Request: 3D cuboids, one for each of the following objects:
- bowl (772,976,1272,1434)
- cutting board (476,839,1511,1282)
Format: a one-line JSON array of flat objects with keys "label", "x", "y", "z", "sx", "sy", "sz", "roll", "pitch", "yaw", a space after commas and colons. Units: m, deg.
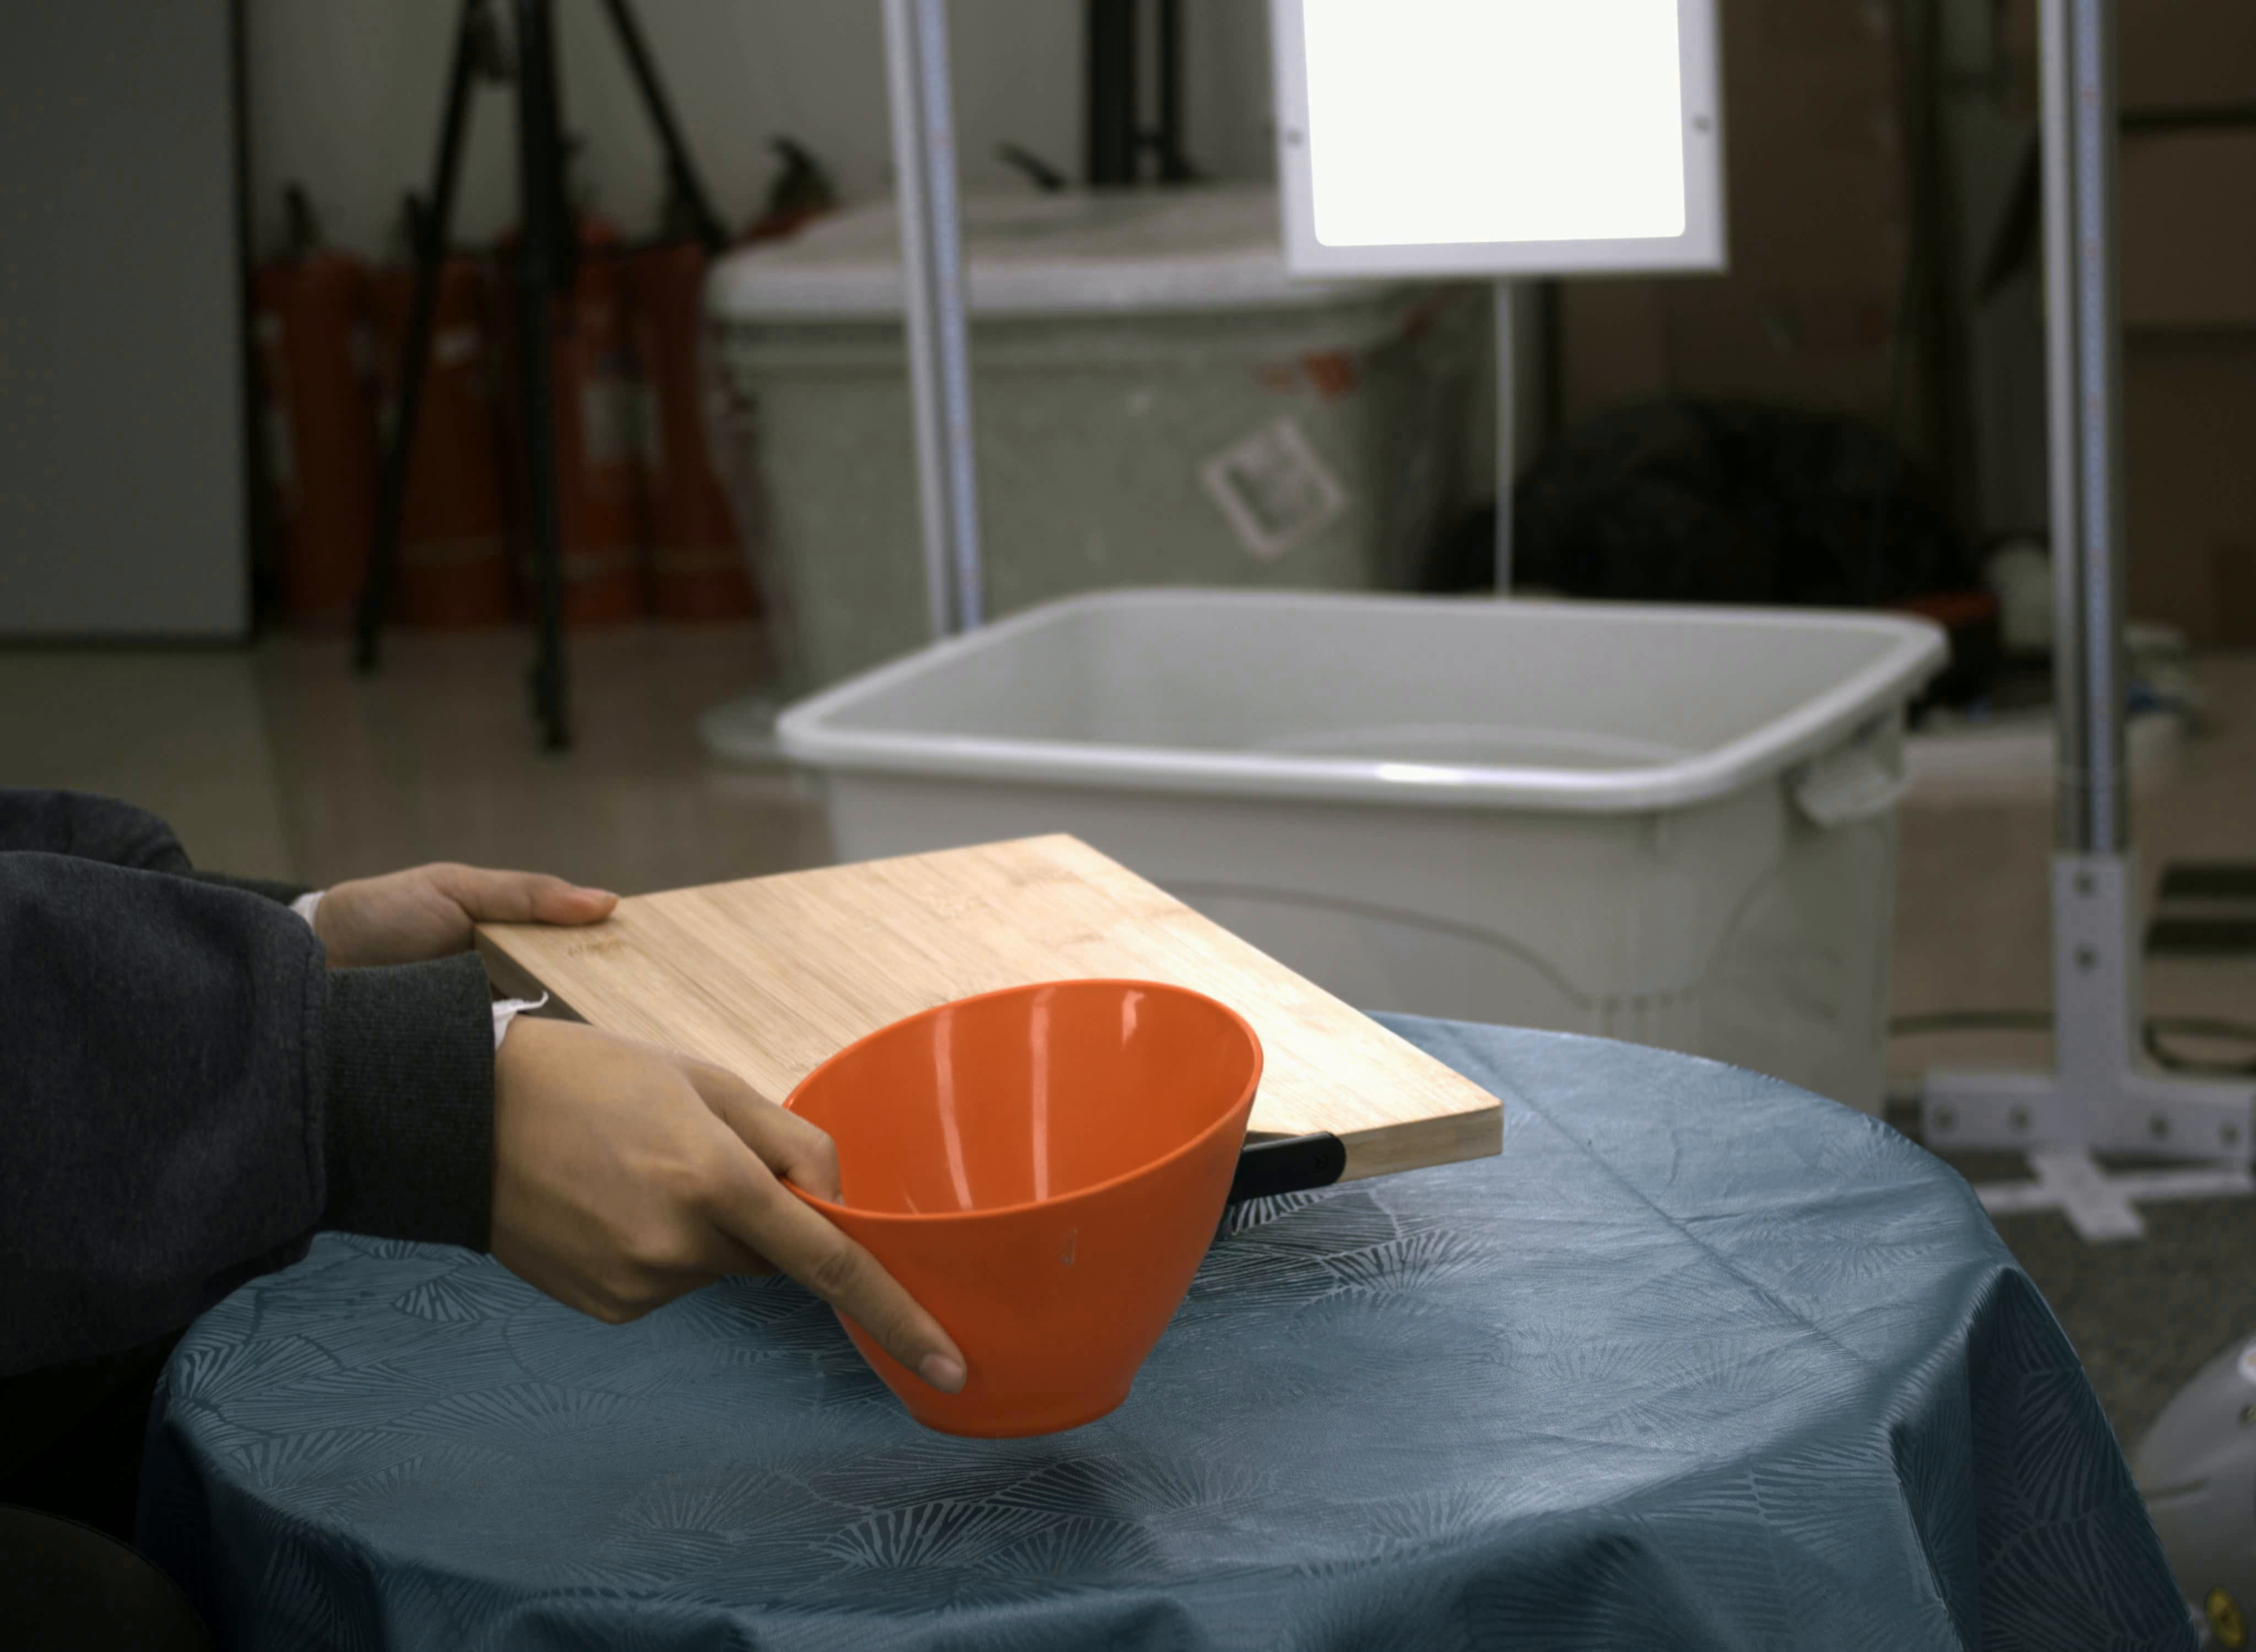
[{"label": "bowl", "x": -0.029, "y": 0.115, "z": 1.623, "sx": 0.147, "sy": 0.105, "sz": 0.148, "roll": -3, "pitch": 16, "yaw": 0}, {"label": "cutting board", "x": -0.055, "y": 0.073, "z": 1.893, "sx": 0.246, "sy": 0.024, "sz": 0.354, "roll": -10, "pitch": 19, "yaw": -24}]
